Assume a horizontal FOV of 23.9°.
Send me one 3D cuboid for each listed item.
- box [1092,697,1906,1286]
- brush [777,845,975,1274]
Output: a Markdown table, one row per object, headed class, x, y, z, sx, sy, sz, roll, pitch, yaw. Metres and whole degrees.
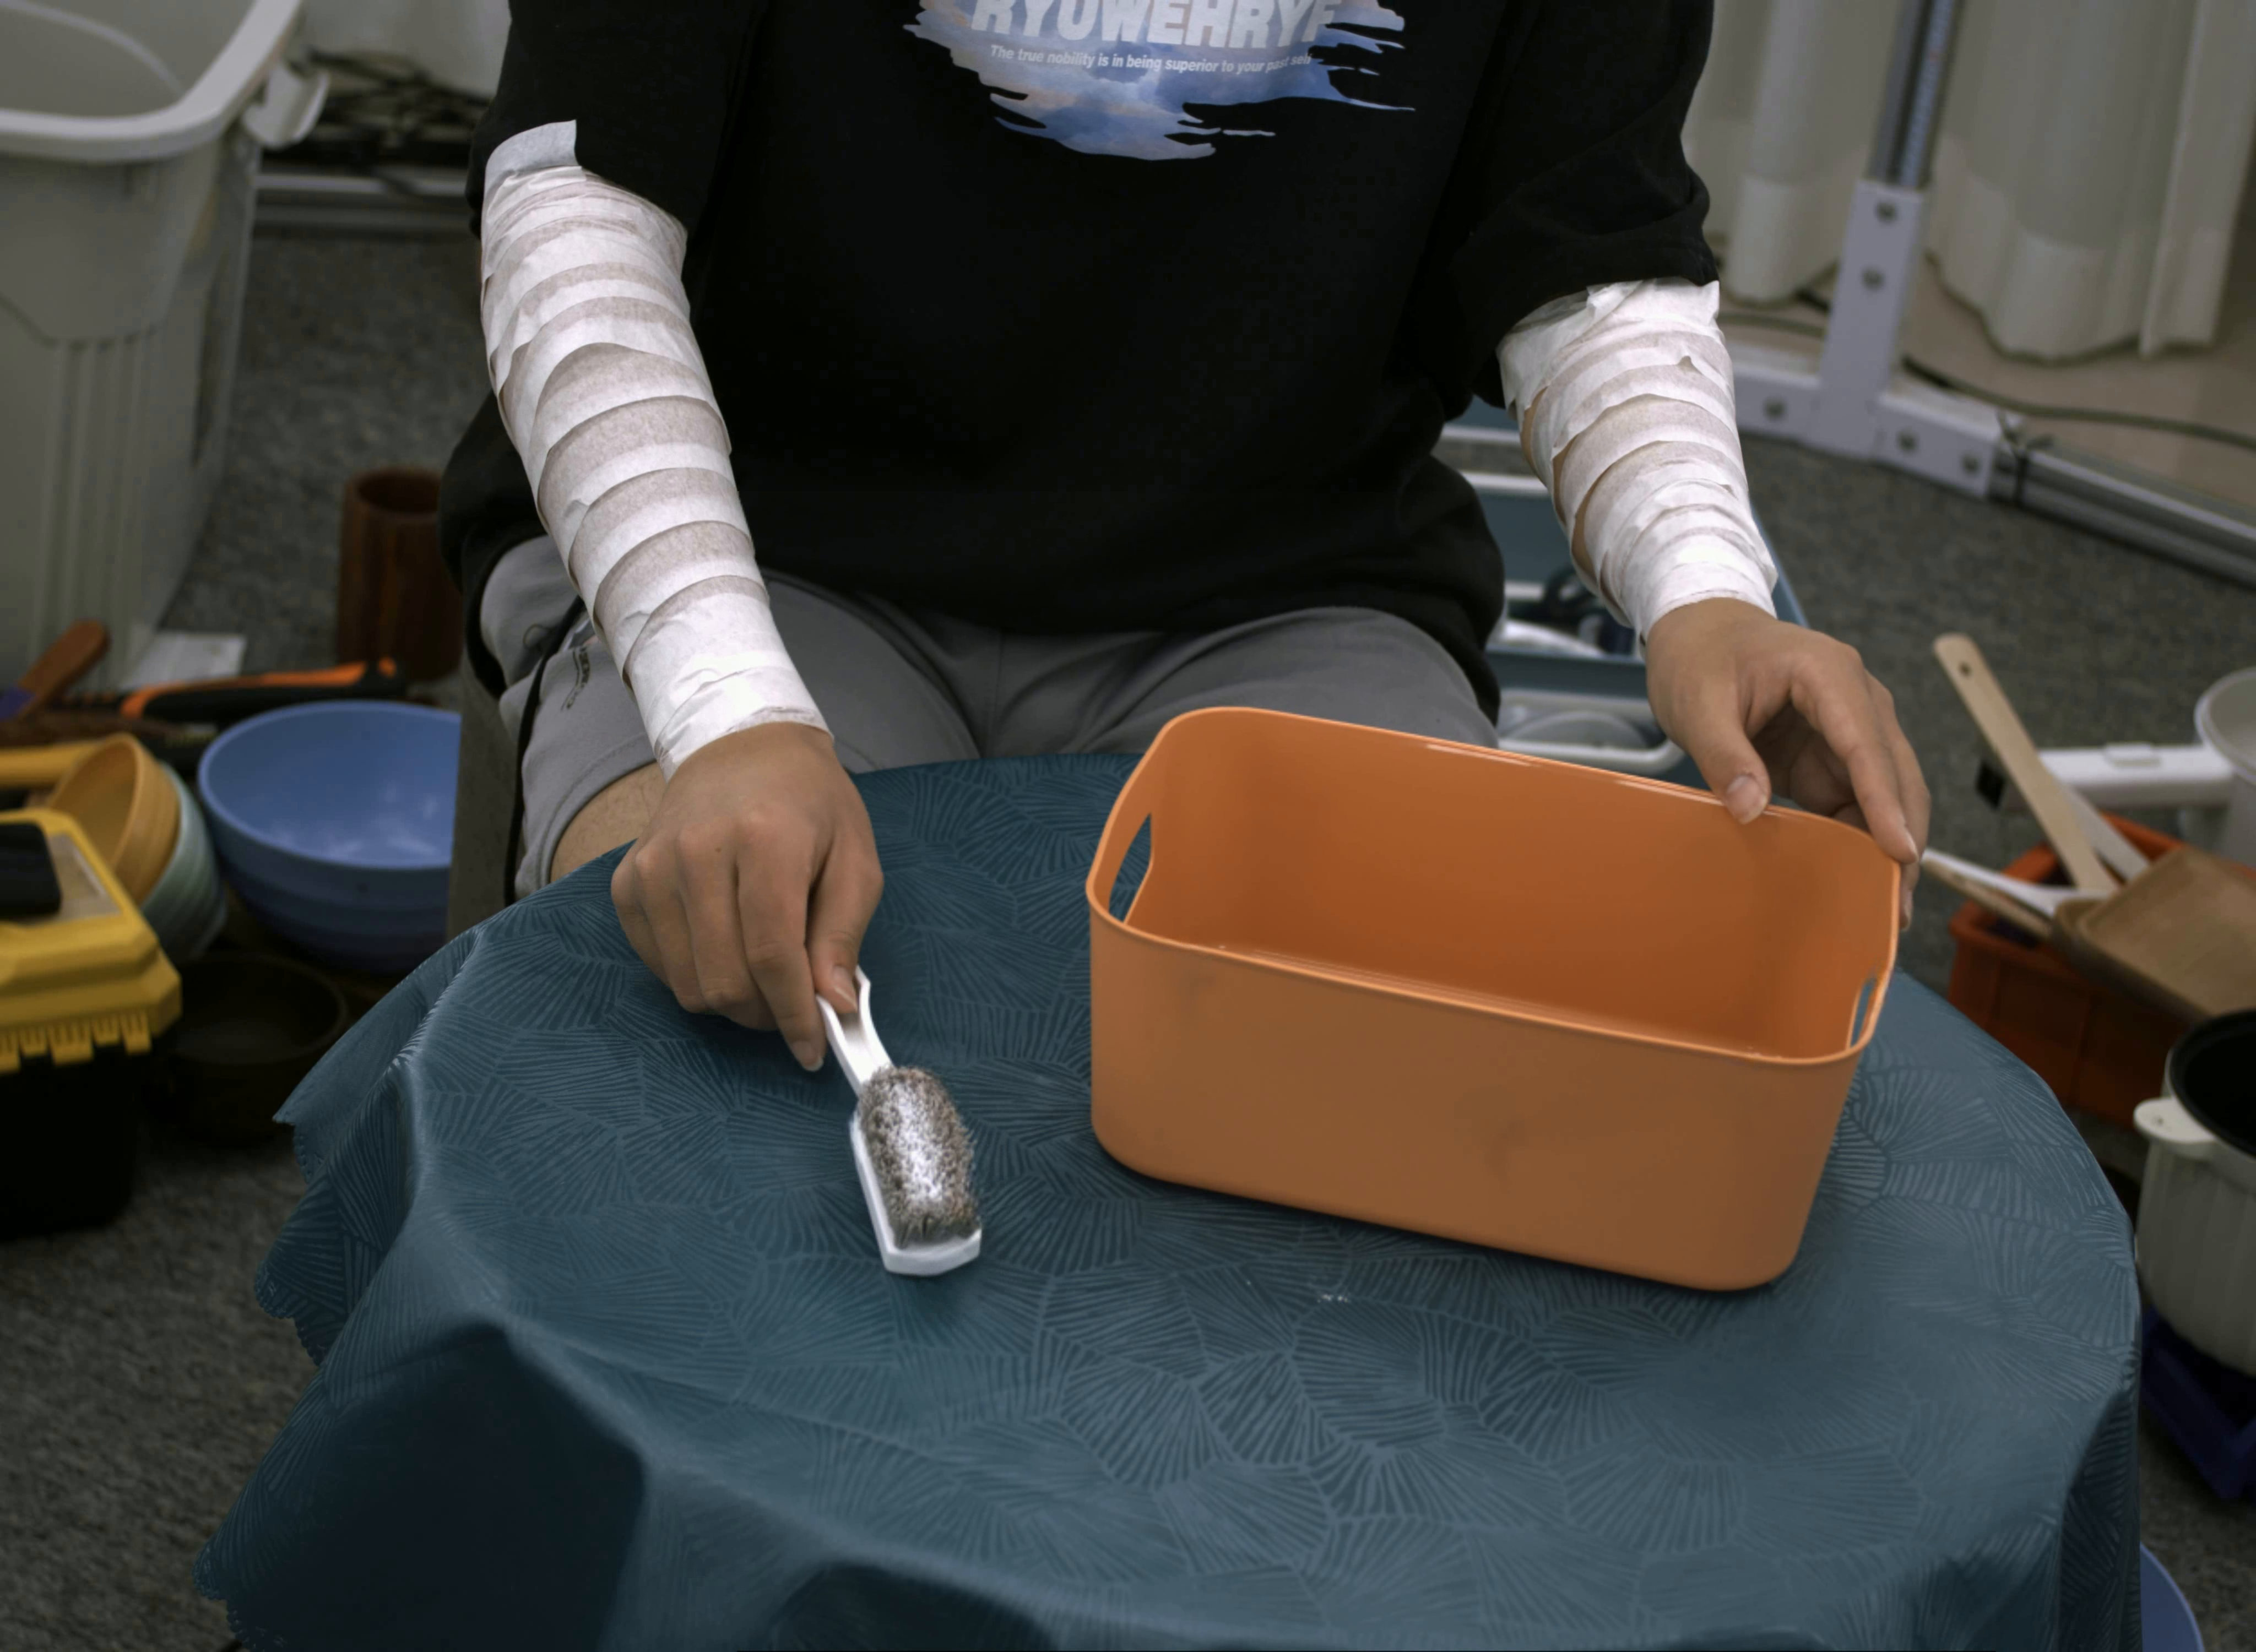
| class | x | y | z | sx | sy | sz | roll | pitch | yaw |
| --- | --- | --- | --- | --- | --- | --- | --- | --- | --- |
| box | 0.124 | 0.057 | 1.845 | 0.273 | 0.102 | 0.200 | 11 | 28 | 8 |
| brush | -0.090 | 0.064 | 1.817 | 0.034 | 0.050 | 0.246 | -7 | 37 | -10 |
